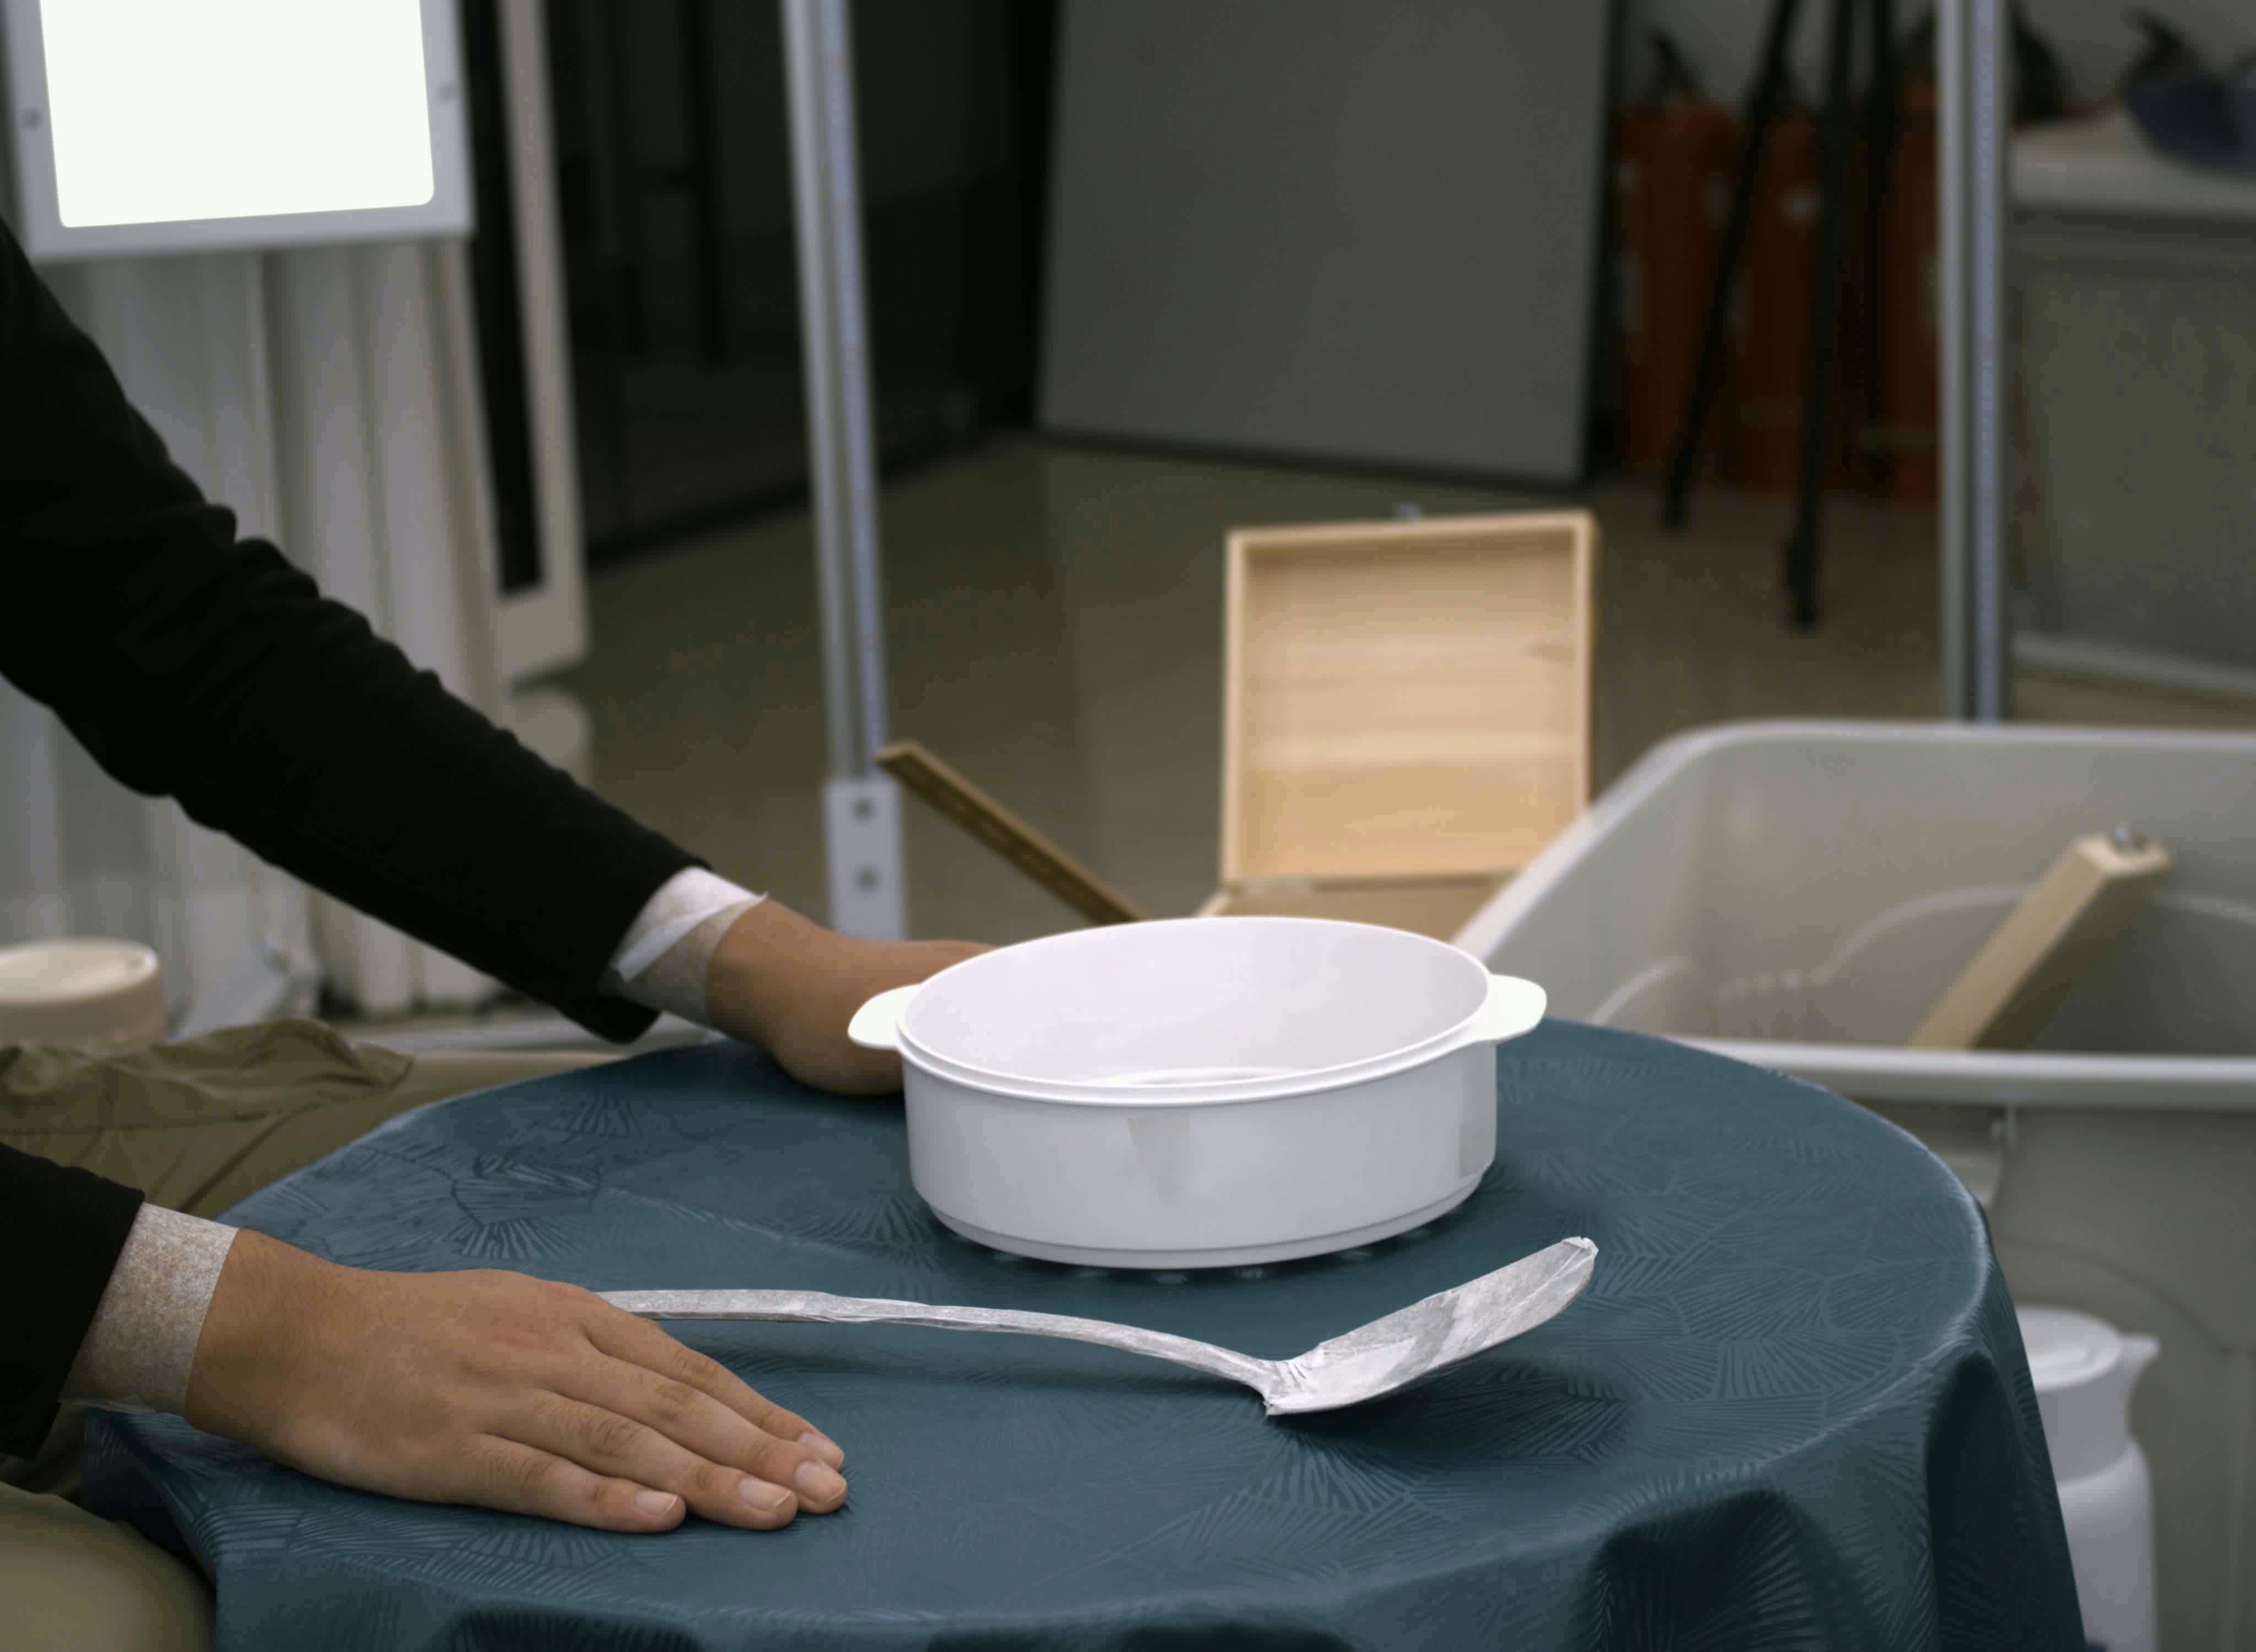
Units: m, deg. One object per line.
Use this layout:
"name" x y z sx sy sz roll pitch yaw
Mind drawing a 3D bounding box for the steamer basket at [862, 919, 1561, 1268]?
"steamer basket" 0.029 0.086 1.755 0.229 0.070 0.201 -2 13 11

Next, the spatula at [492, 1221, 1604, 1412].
"spatula" -0.035 0.144 1.608 0.364 0.045 0.098 1 17 22
